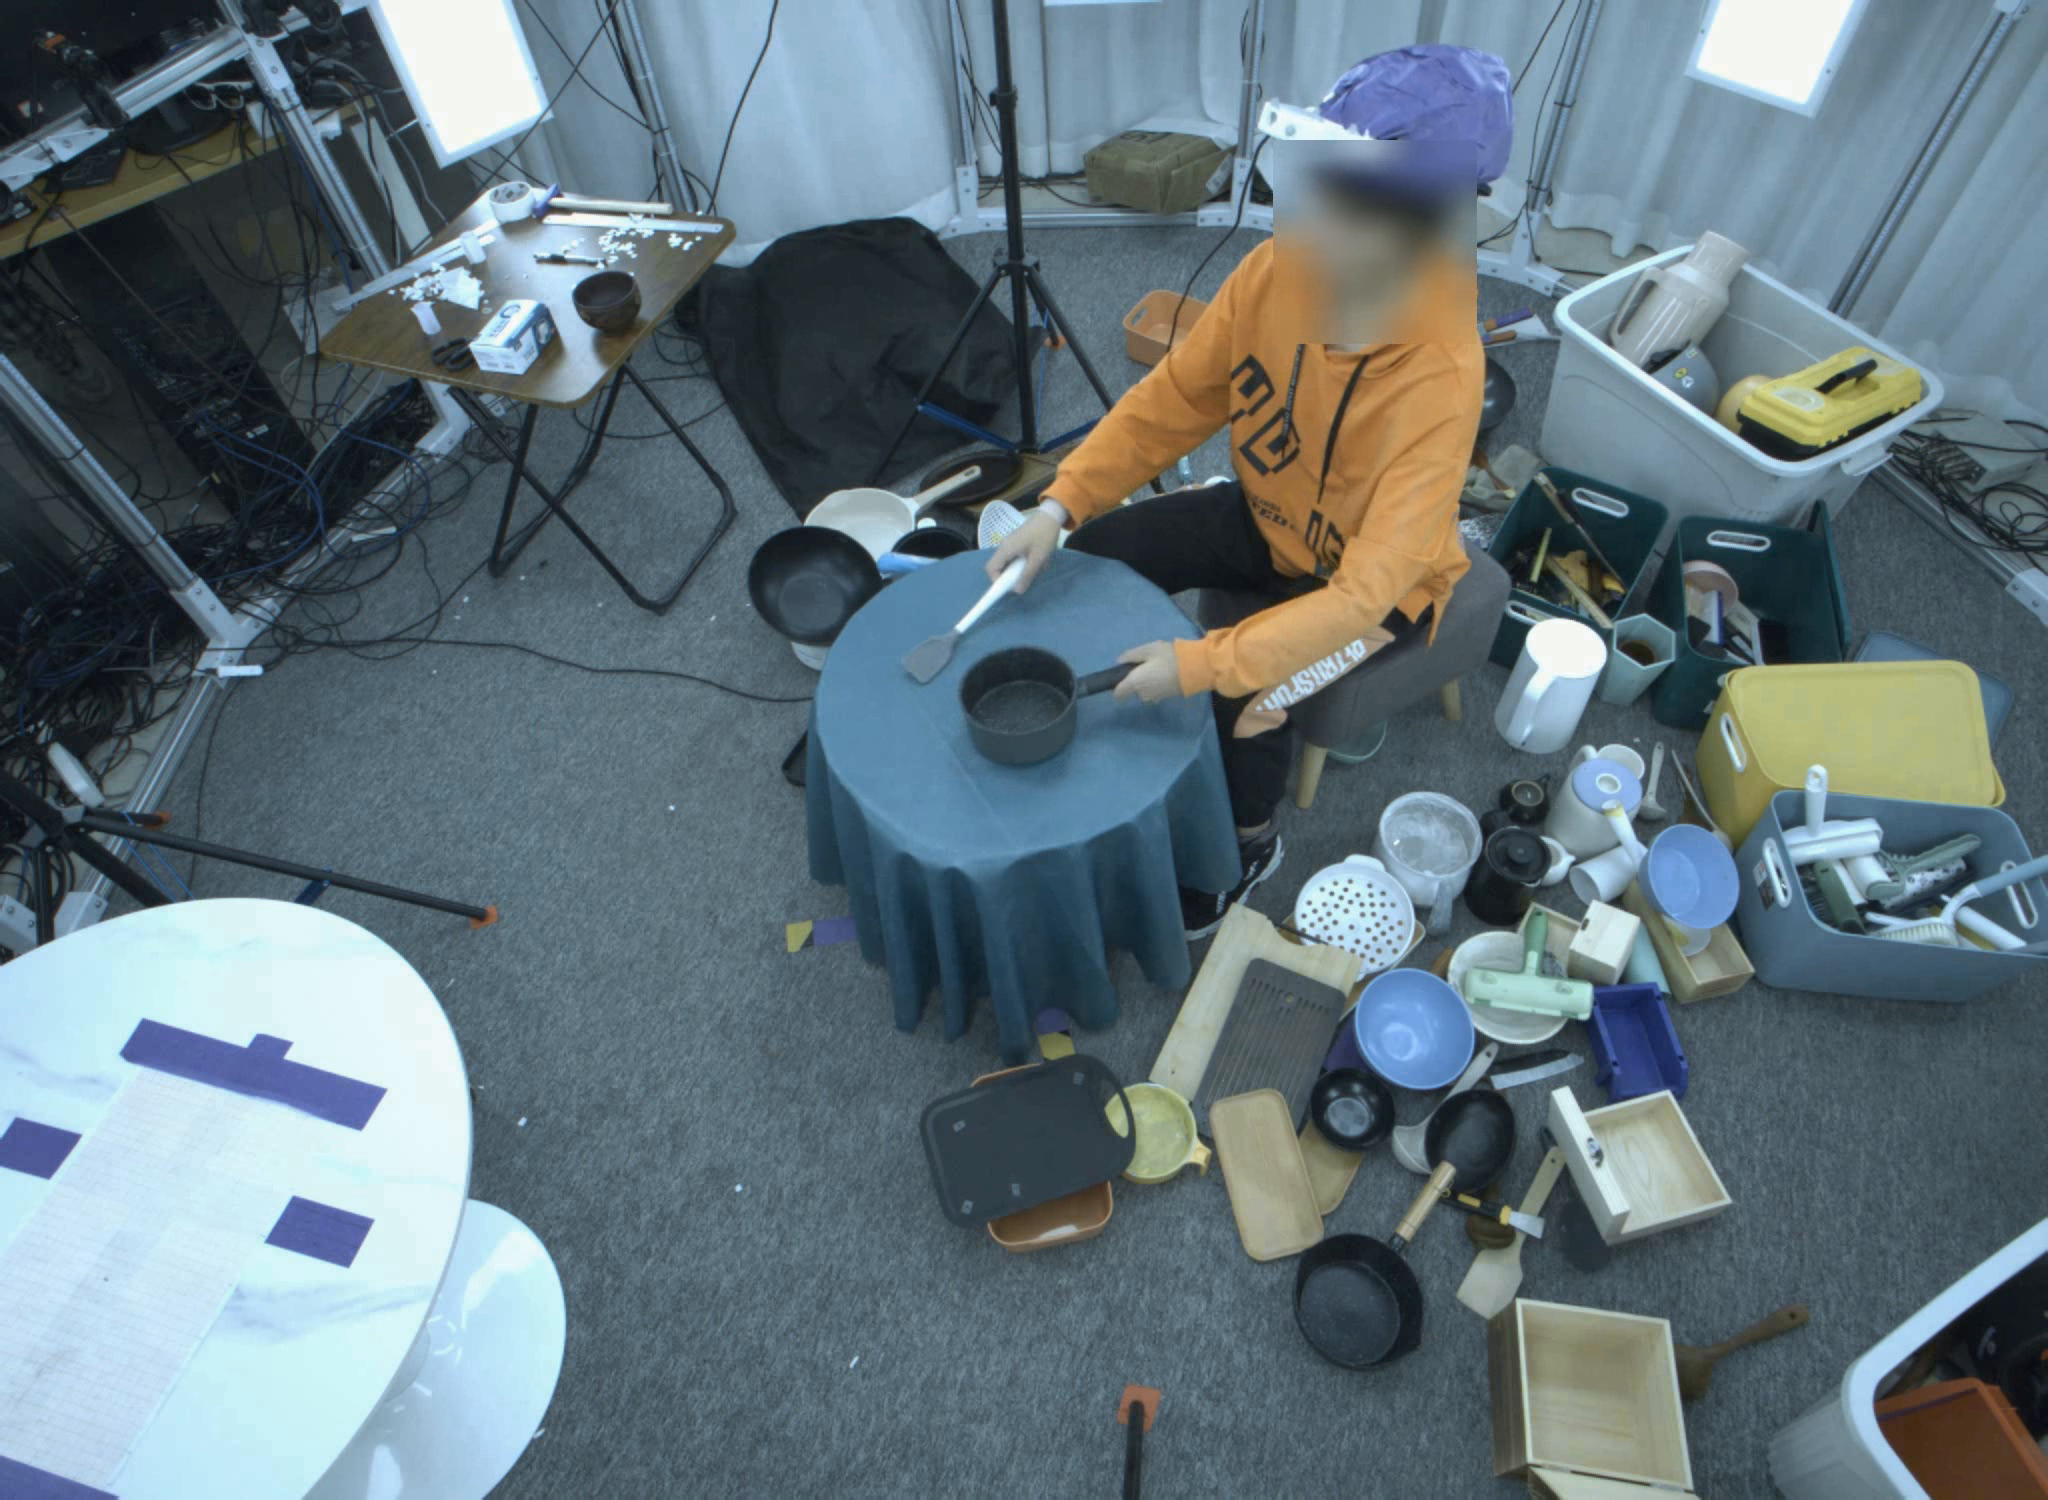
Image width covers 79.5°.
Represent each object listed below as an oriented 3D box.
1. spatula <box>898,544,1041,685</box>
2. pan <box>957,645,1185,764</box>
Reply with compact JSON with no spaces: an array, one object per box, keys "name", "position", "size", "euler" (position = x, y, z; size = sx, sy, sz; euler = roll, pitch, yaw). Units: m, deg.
[{"name":"spatula","position":[-0.081,-0.212,1.900],"size":[0.059,0.032,0.288],"euler":[44,76,-4]},{"name":"pan","position":[0.070,-0.079,1.780],"size":[0.329,0.087,0.169],"euler":[-9,53,-1]}]
